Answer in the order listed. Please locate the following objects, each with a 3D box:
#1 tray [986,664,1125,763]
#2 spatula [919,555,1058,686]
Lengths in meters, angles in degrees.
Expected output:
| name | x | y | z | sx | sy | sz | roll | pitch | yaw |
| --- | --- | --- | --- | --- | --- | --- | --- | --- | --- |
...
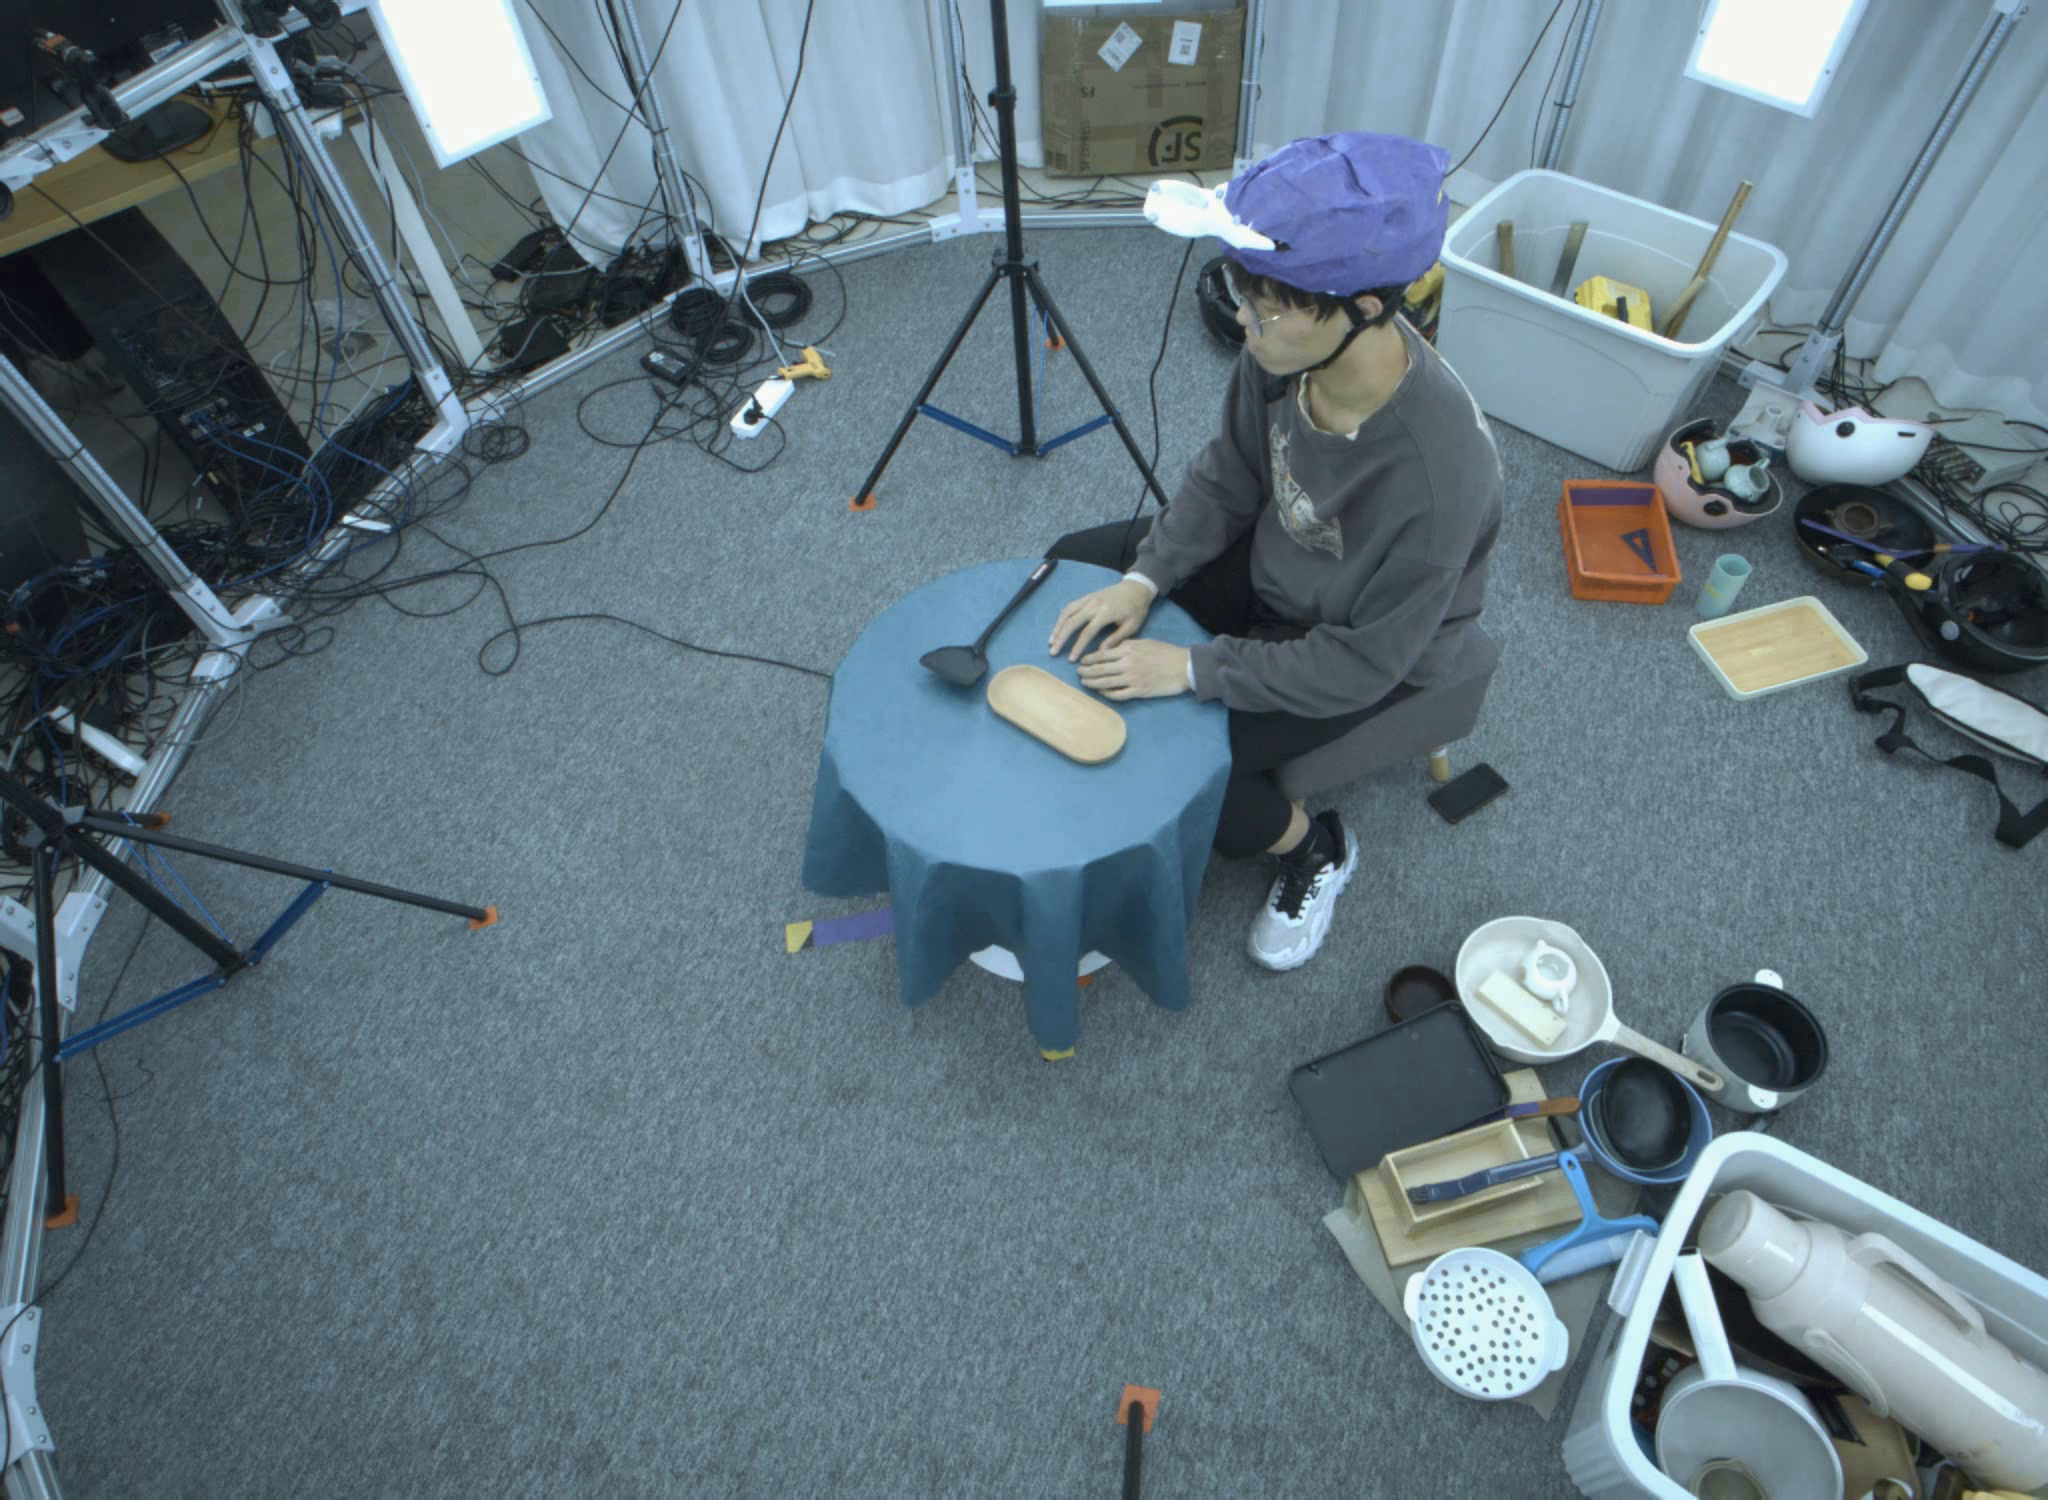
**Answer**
| name | x | y | z | sx | sy | sz | roll | pitch | yaw |
| --- | --- | --- | --- | --- | --- | --- | --- | --- | --- |
| tray | 0.045 | -0.055 | 1.813 | 0.227 | 0.020 | 0.102 | 31 | 60 | 23 |
| spatula | -0.036 | -0.213 | 1.917 | 0.098 | 0.041 | 0.327 | 27 | 59 | 18 |
